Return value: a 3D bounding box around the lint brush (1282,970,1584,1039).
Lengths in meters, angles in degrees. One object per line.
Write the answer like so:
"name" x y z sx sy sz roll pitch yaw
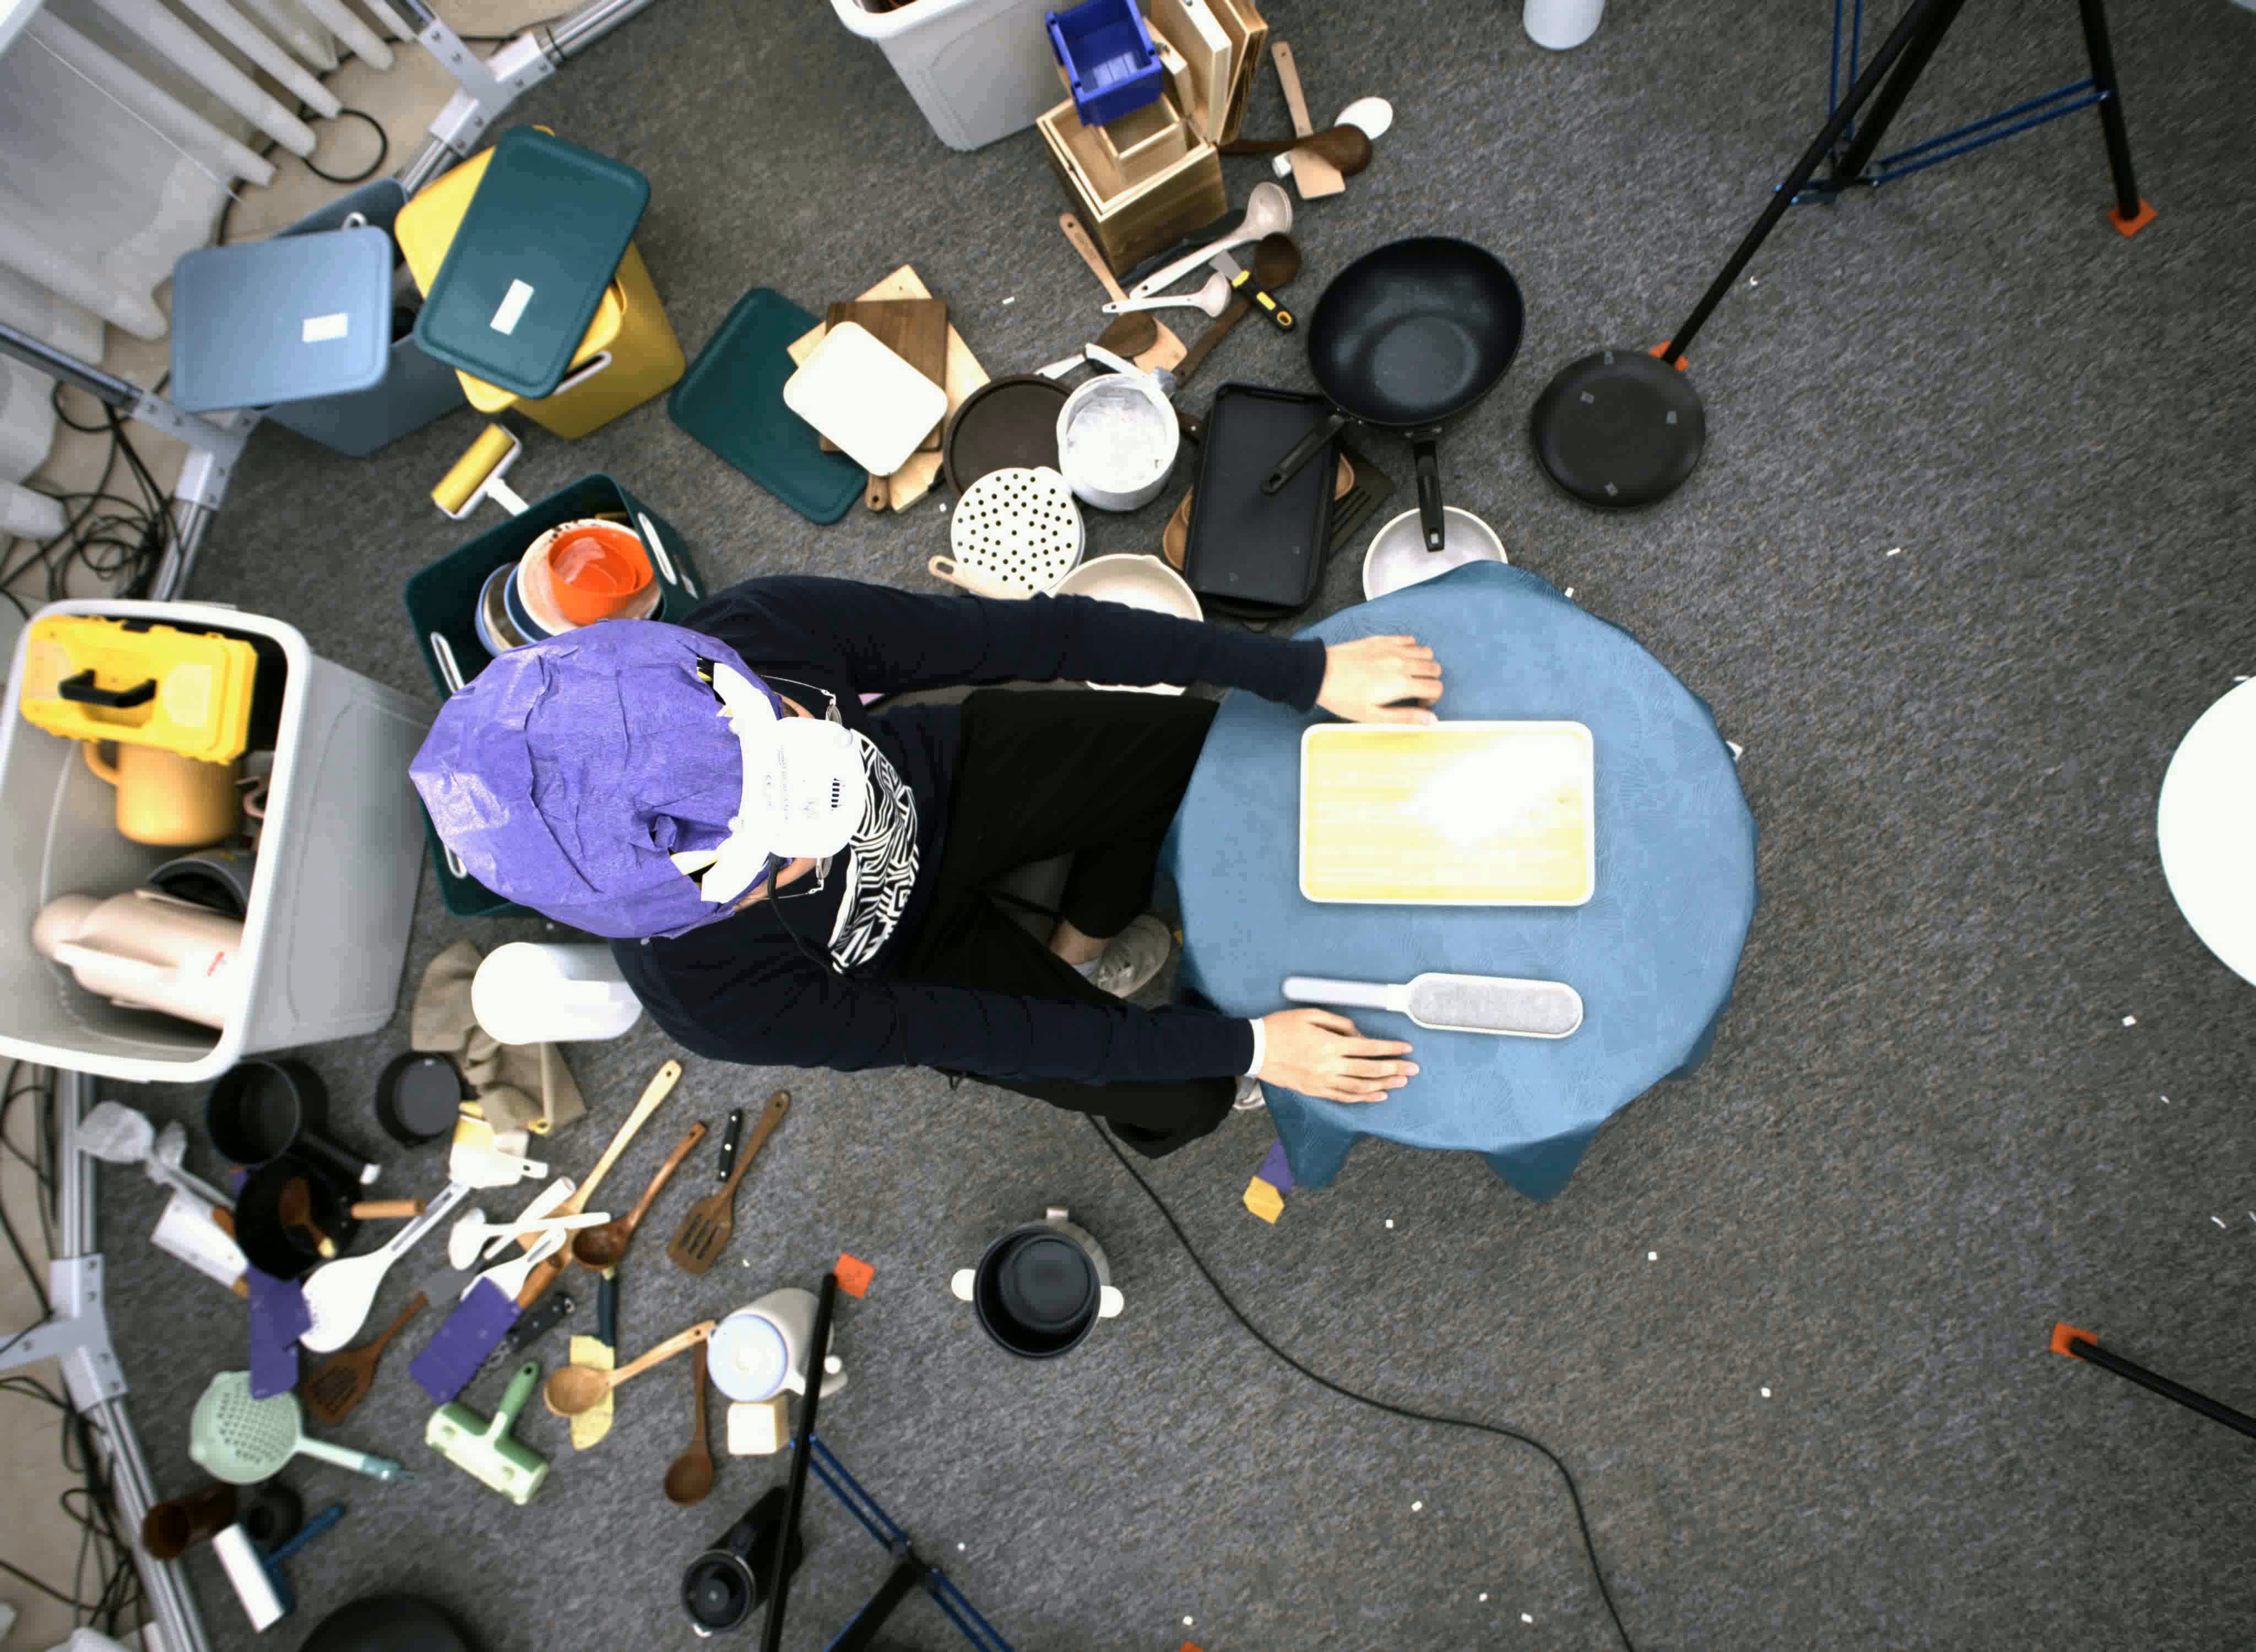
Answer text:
"lint brush" 0.314 0.177 1.432 0.310 0.021 0.060 4 93 11

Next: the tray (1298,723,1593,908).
"tray" 0.331 -0.014 1.440 0.301 0.027 0.190 1 86 11
